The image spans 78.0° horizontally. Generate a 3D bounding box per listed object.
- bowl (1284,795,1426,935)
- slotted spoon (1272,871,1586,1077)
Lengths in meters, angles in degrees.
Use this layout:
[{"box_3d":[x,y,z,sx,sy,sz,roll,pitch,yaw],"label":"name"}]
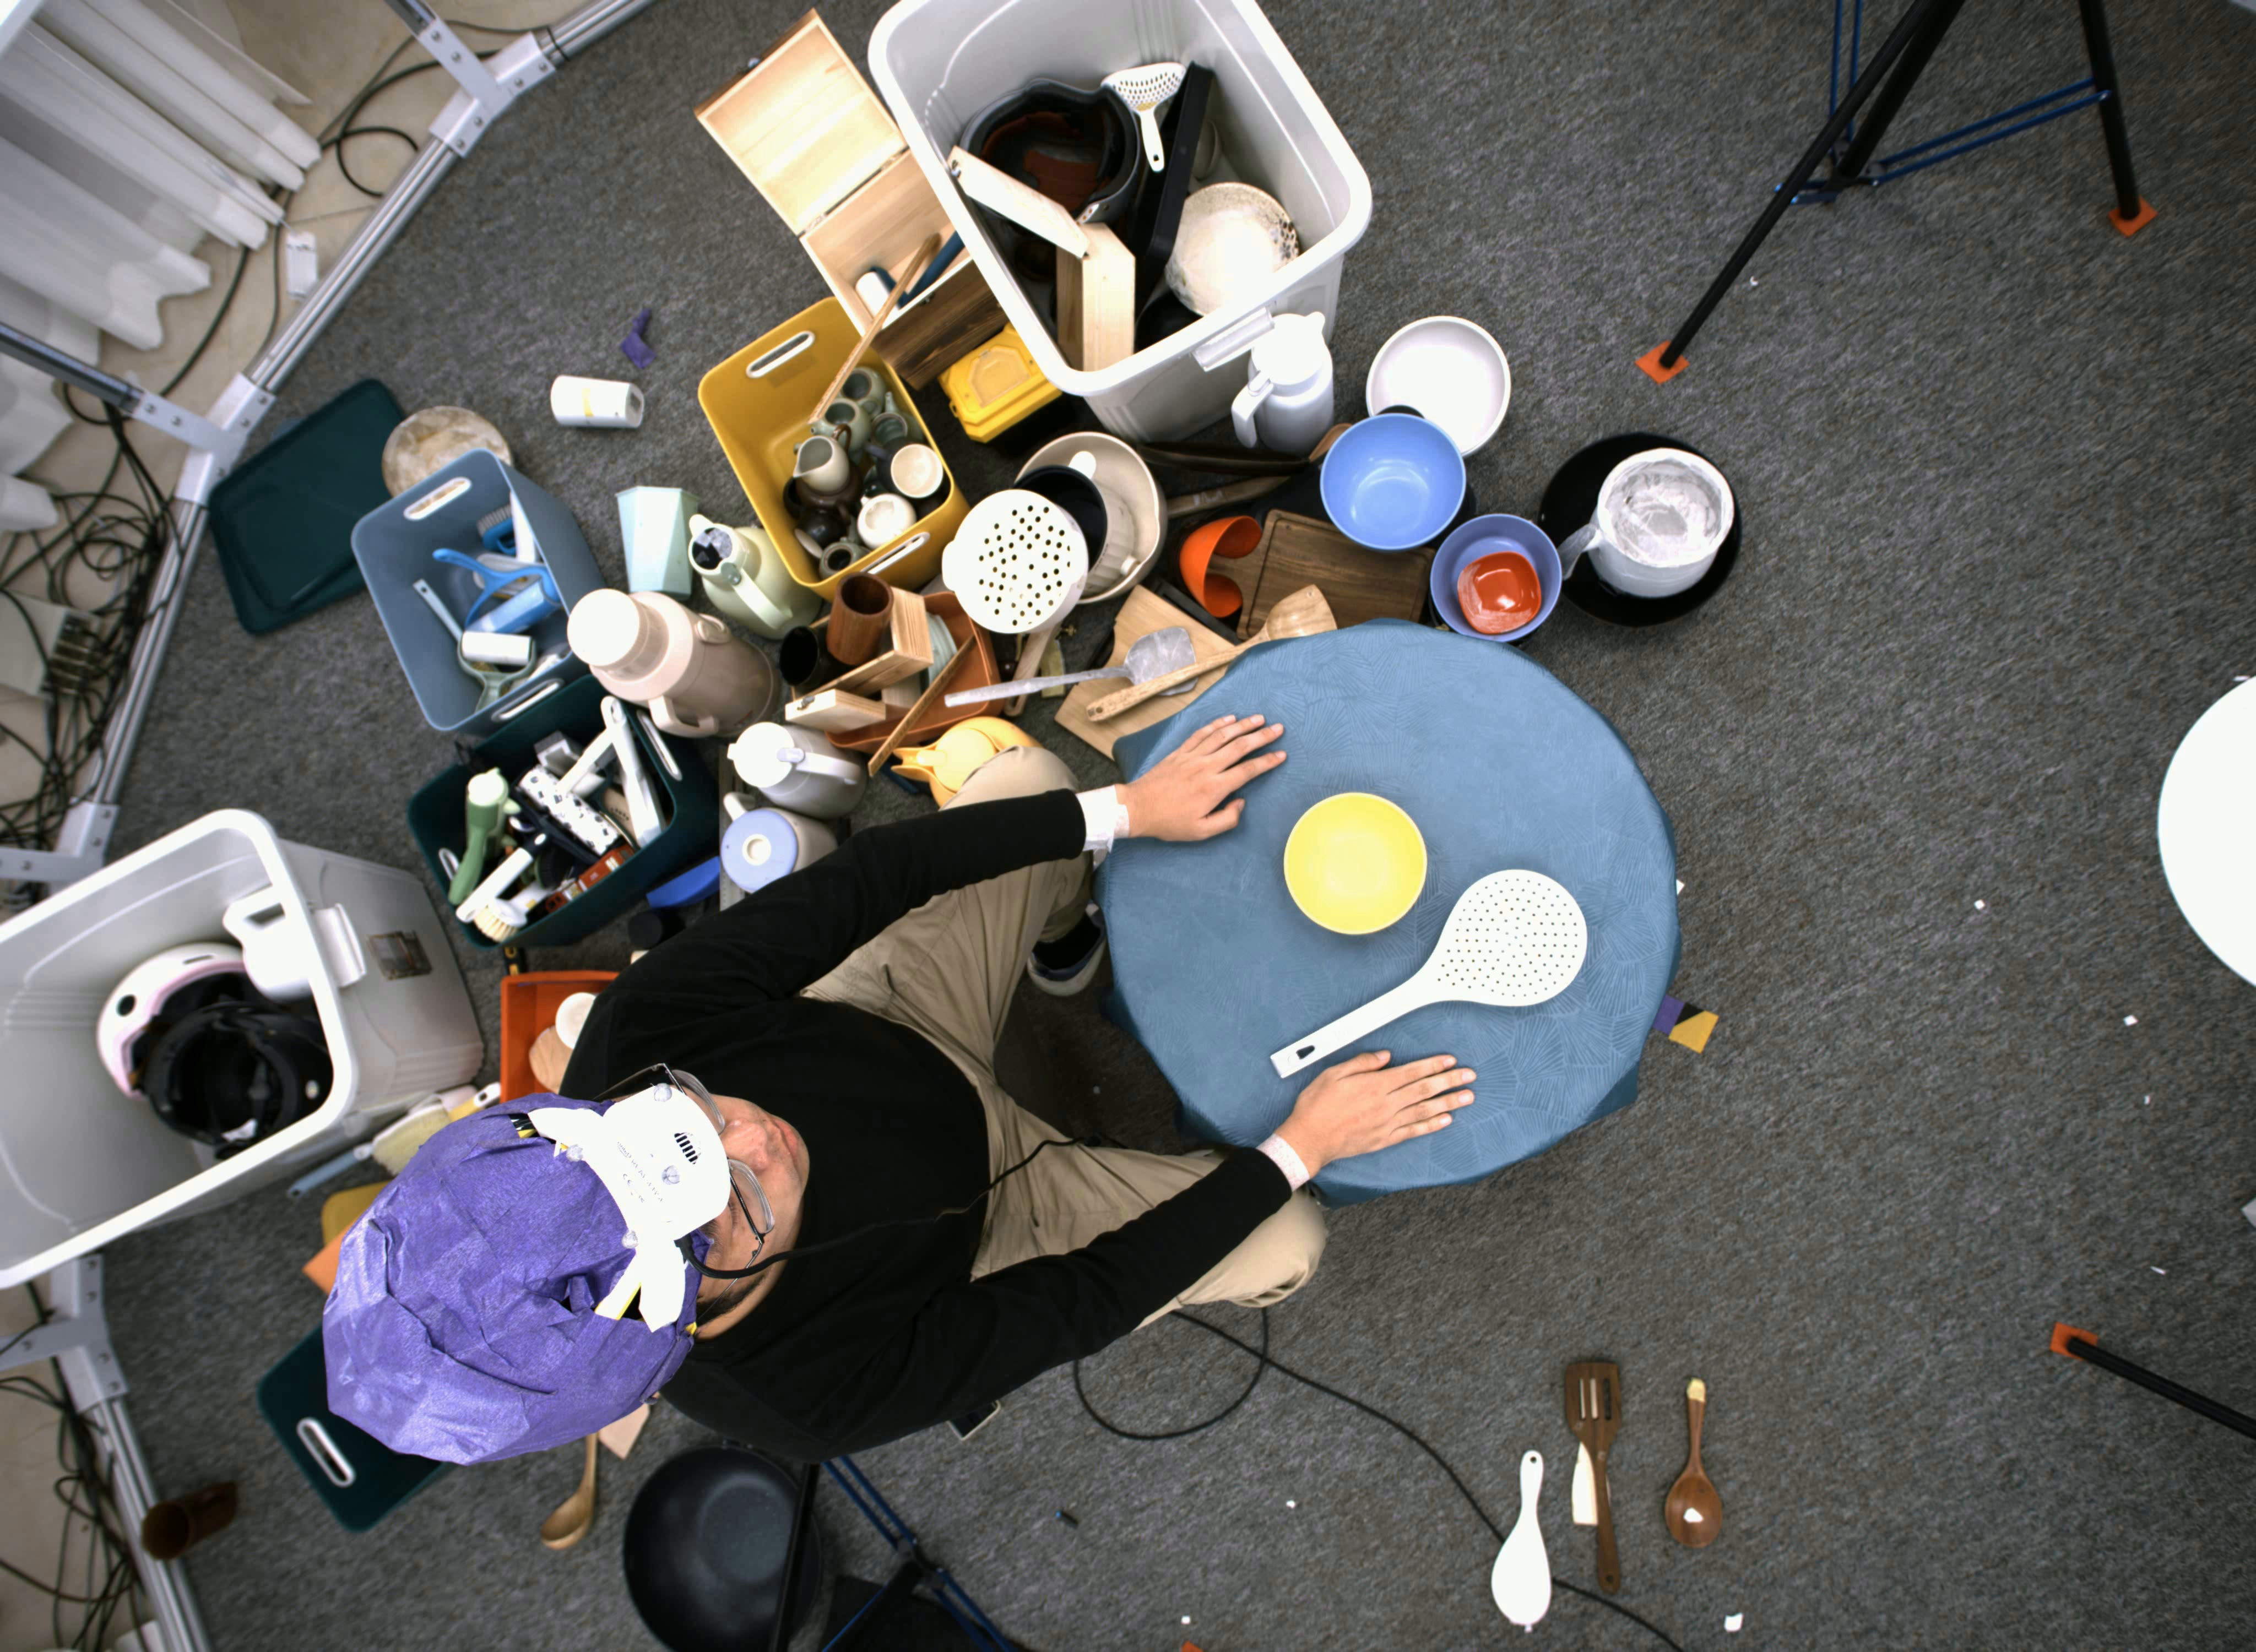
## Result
[{"box_3d":[0.236,0.042,1.440,0.146,0.060,0.144,-1,84,10],"label":"bowl"},{"box_3d":[0.305,0.167,1.425,0.352,0.046,0.135,-30,81,8],"label":"slotted spoon"}]
